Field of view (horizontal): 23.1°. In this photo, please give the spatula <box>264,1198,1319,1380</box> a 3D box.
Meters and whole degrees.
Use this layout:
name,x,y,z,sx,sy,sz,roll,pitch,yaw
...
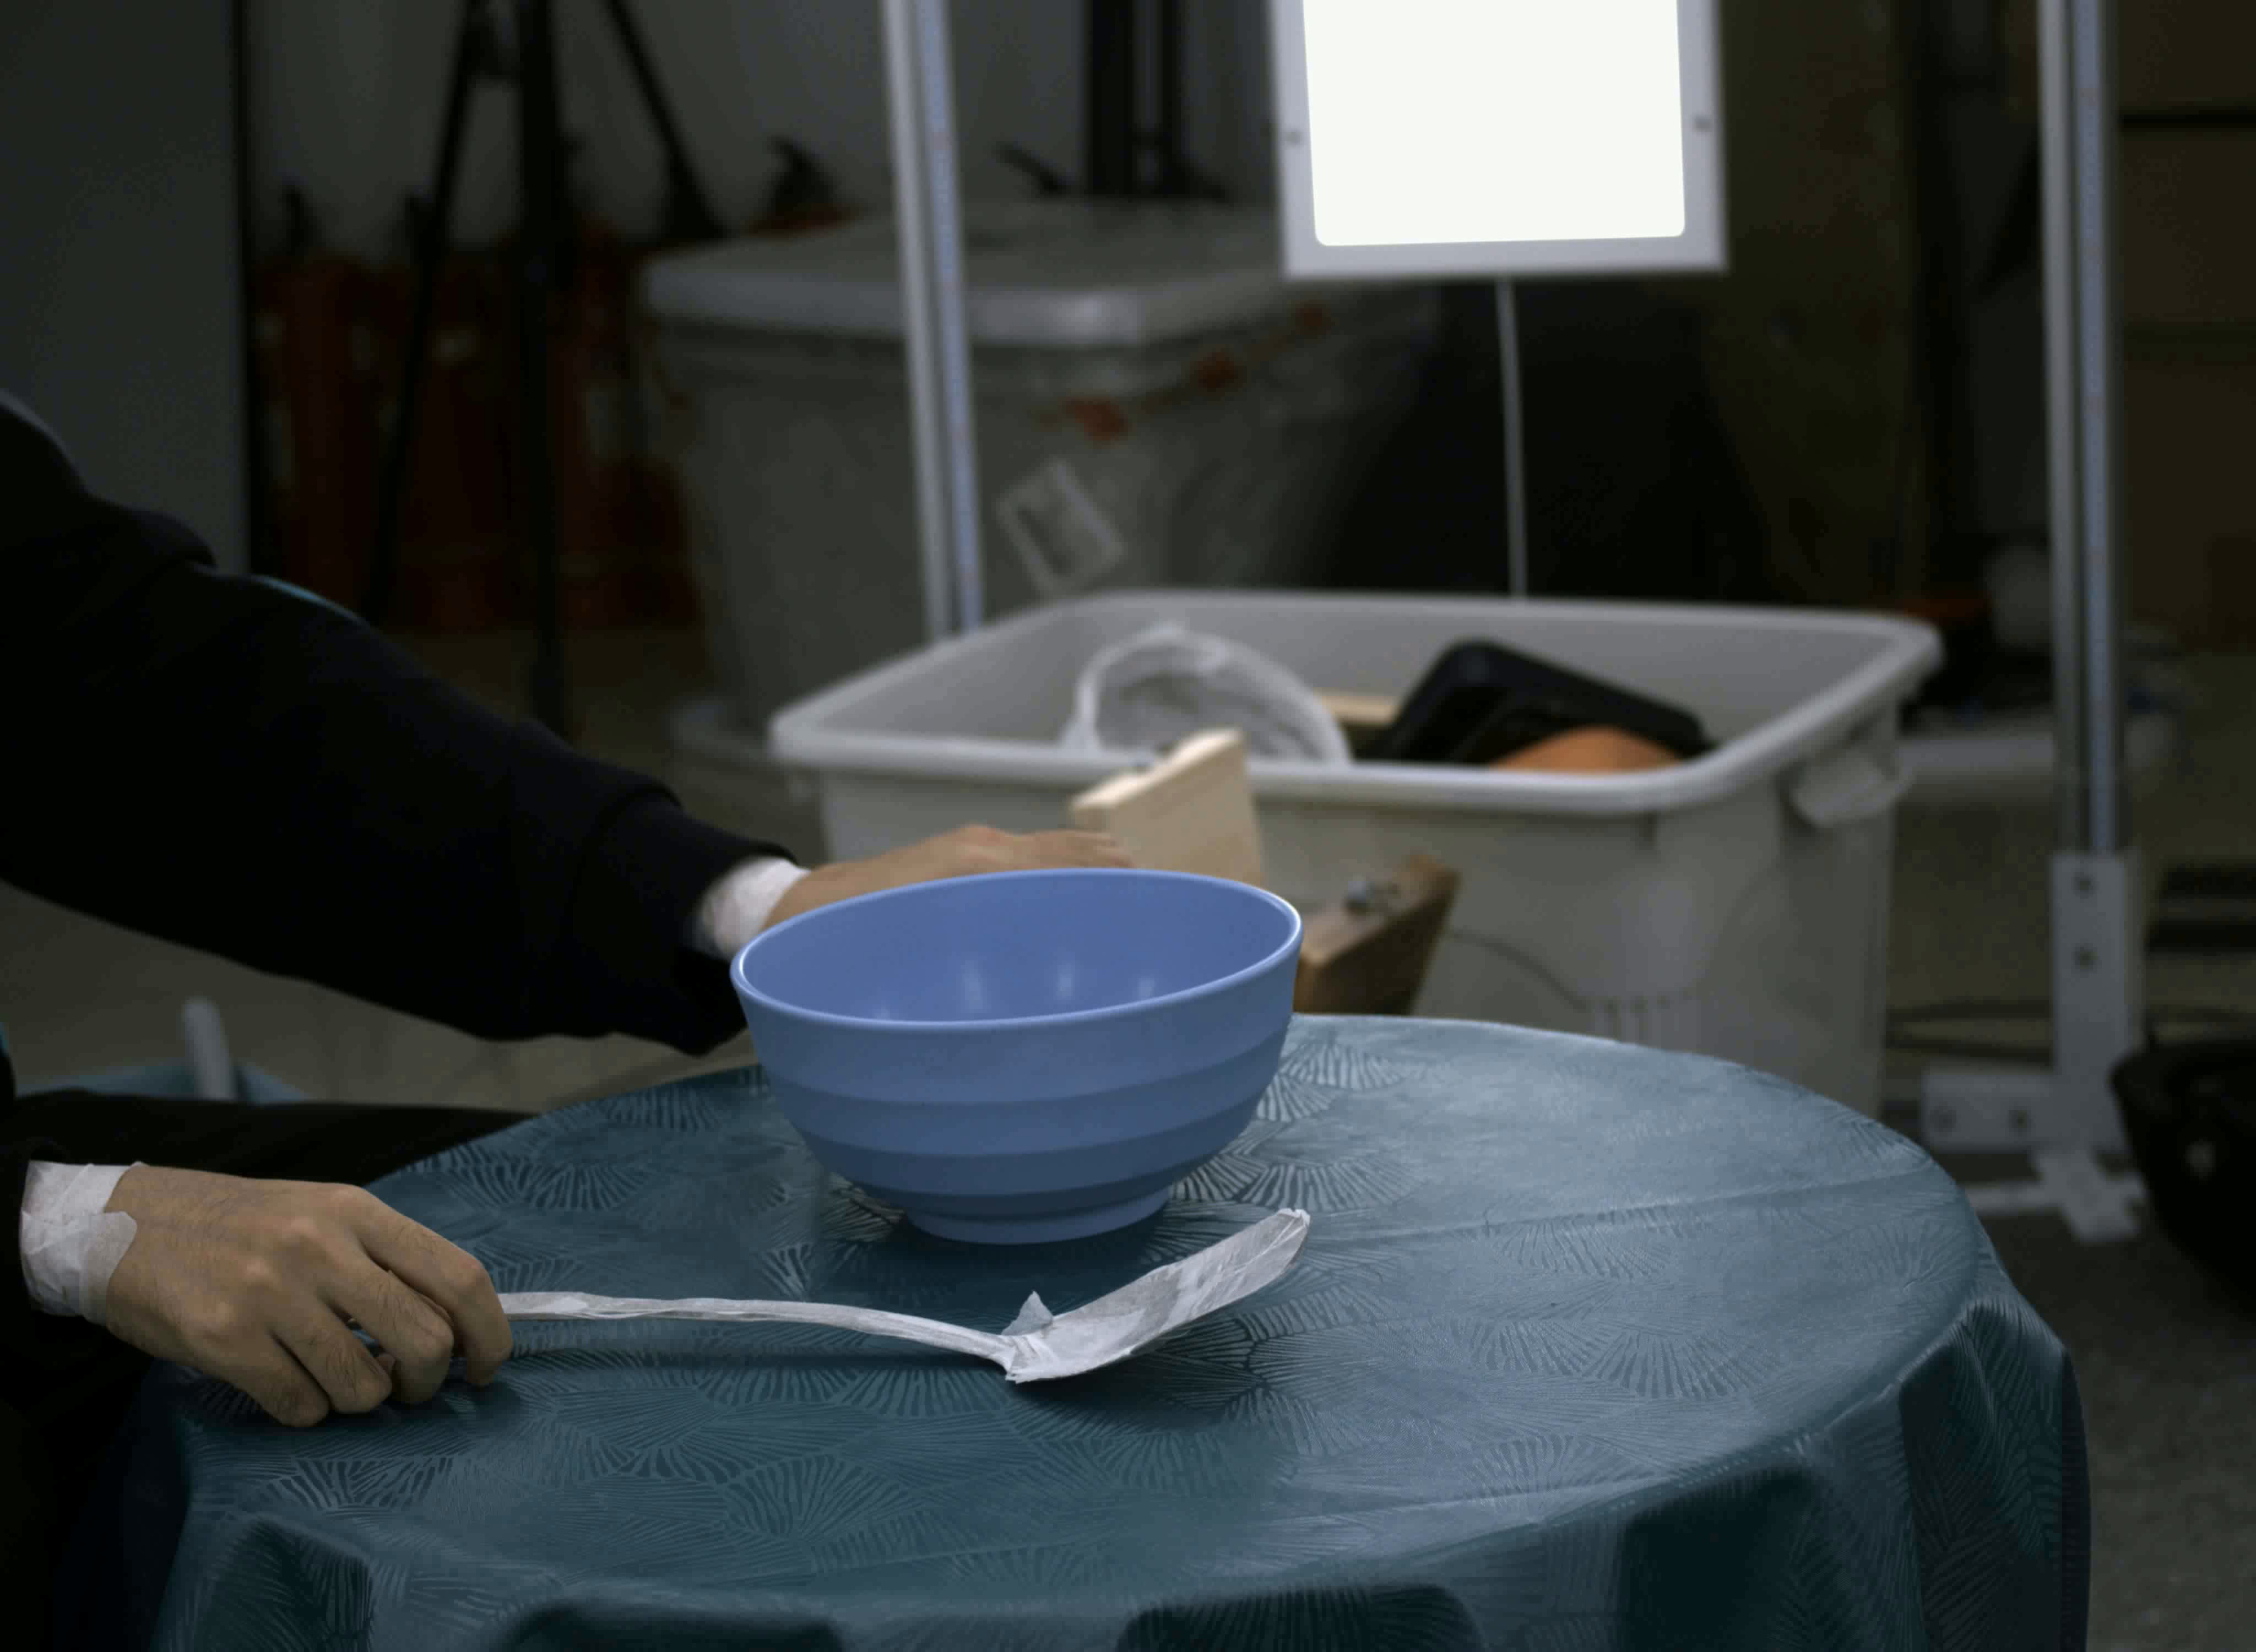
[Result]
name,x,y,z,sx,sy,sz,roll,pitch,yaw
spatula,-0.117,0.150,1.763,0.369,0.045,0.097,0,17,18

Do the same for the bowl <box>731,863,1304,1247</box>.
name,x,y,z,sx,sy,sz,roll,pitch,yaw
bowl,-0.034,0.084,1.884,0.196,0.096,0.196,-5,15,0
